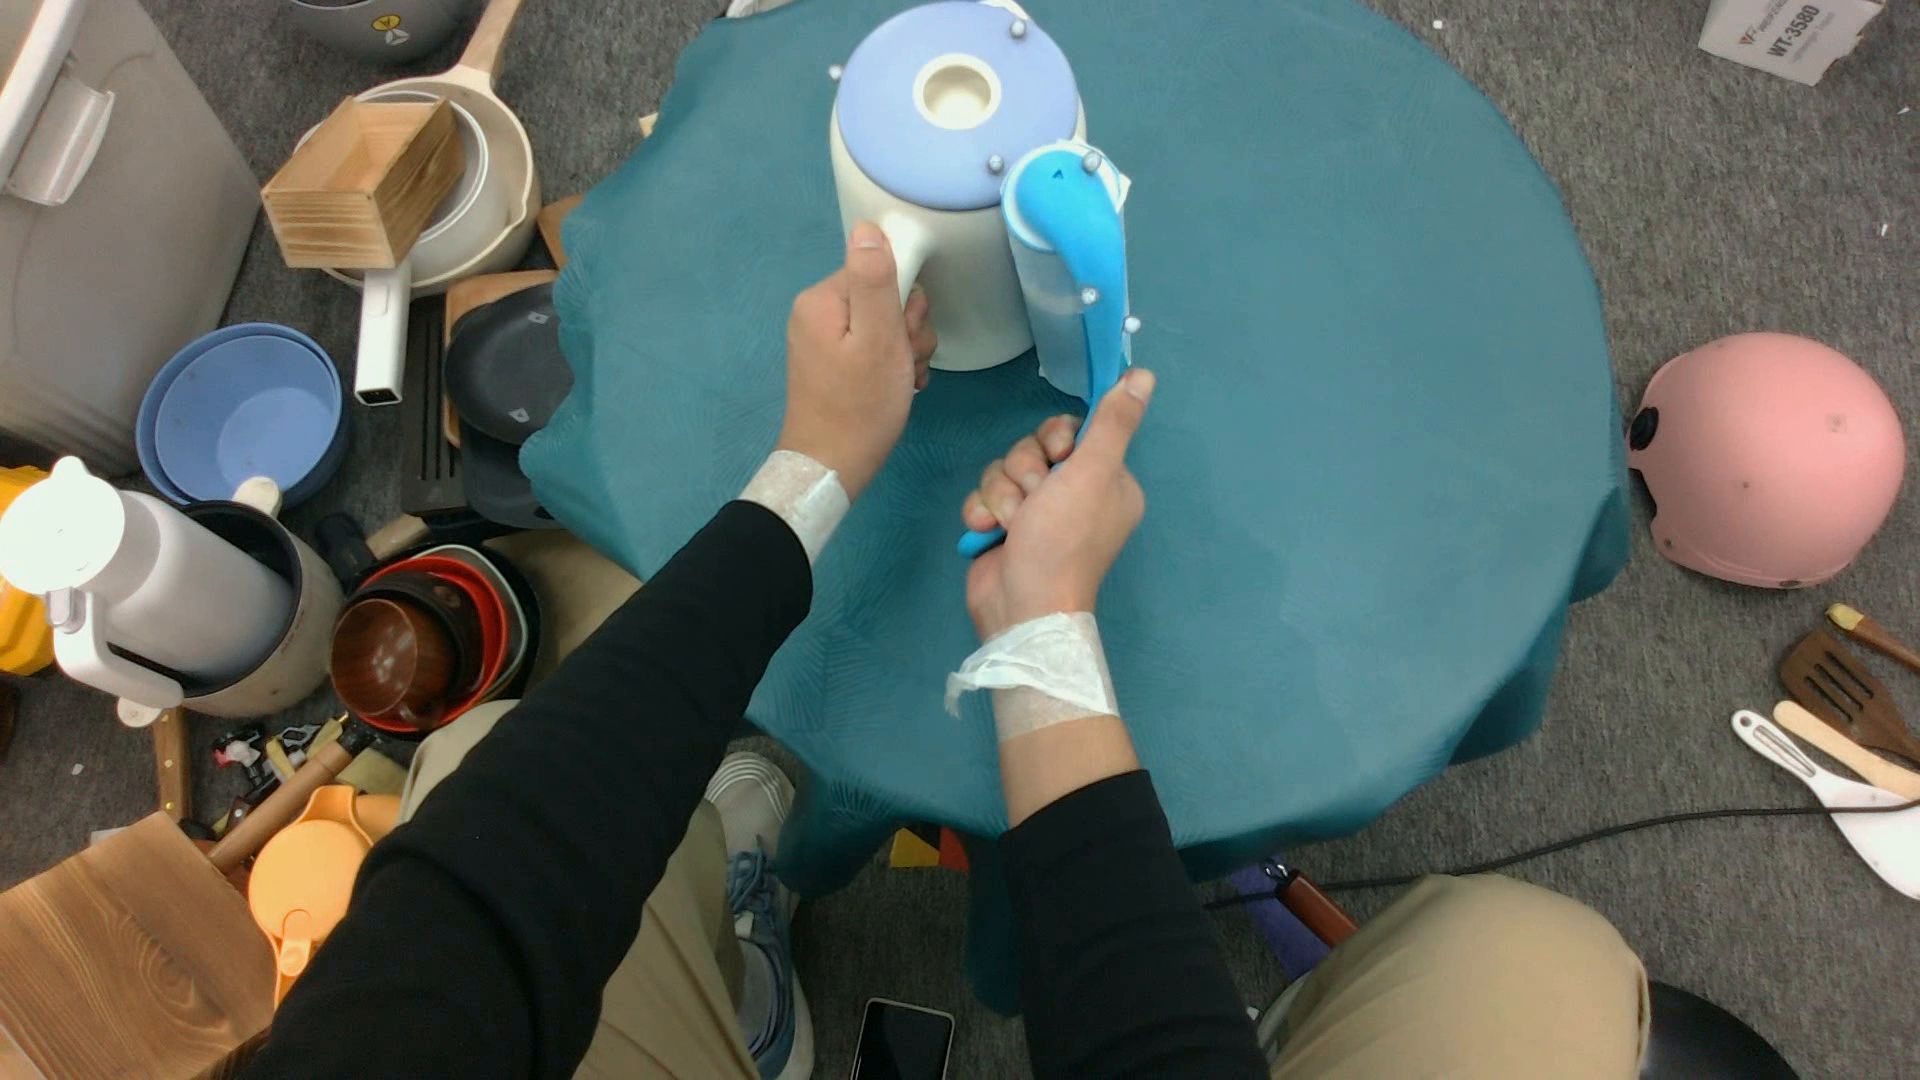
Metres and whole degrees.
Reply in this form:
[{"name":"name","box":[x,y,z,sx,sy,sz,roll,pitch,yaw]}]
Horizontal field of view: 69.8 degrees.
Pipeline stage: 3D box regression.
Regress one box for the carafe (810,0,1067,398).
[{"name":"carafe","box":[-0.019,-0.171,0.742,0.132,0.182,0.191,19,74,7]}]

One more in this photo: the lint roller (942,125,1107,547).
[{"name":"lint roller","box":[0.038,-0.080,0.689,0.068,0.228,0.180,8,80,7]}]
